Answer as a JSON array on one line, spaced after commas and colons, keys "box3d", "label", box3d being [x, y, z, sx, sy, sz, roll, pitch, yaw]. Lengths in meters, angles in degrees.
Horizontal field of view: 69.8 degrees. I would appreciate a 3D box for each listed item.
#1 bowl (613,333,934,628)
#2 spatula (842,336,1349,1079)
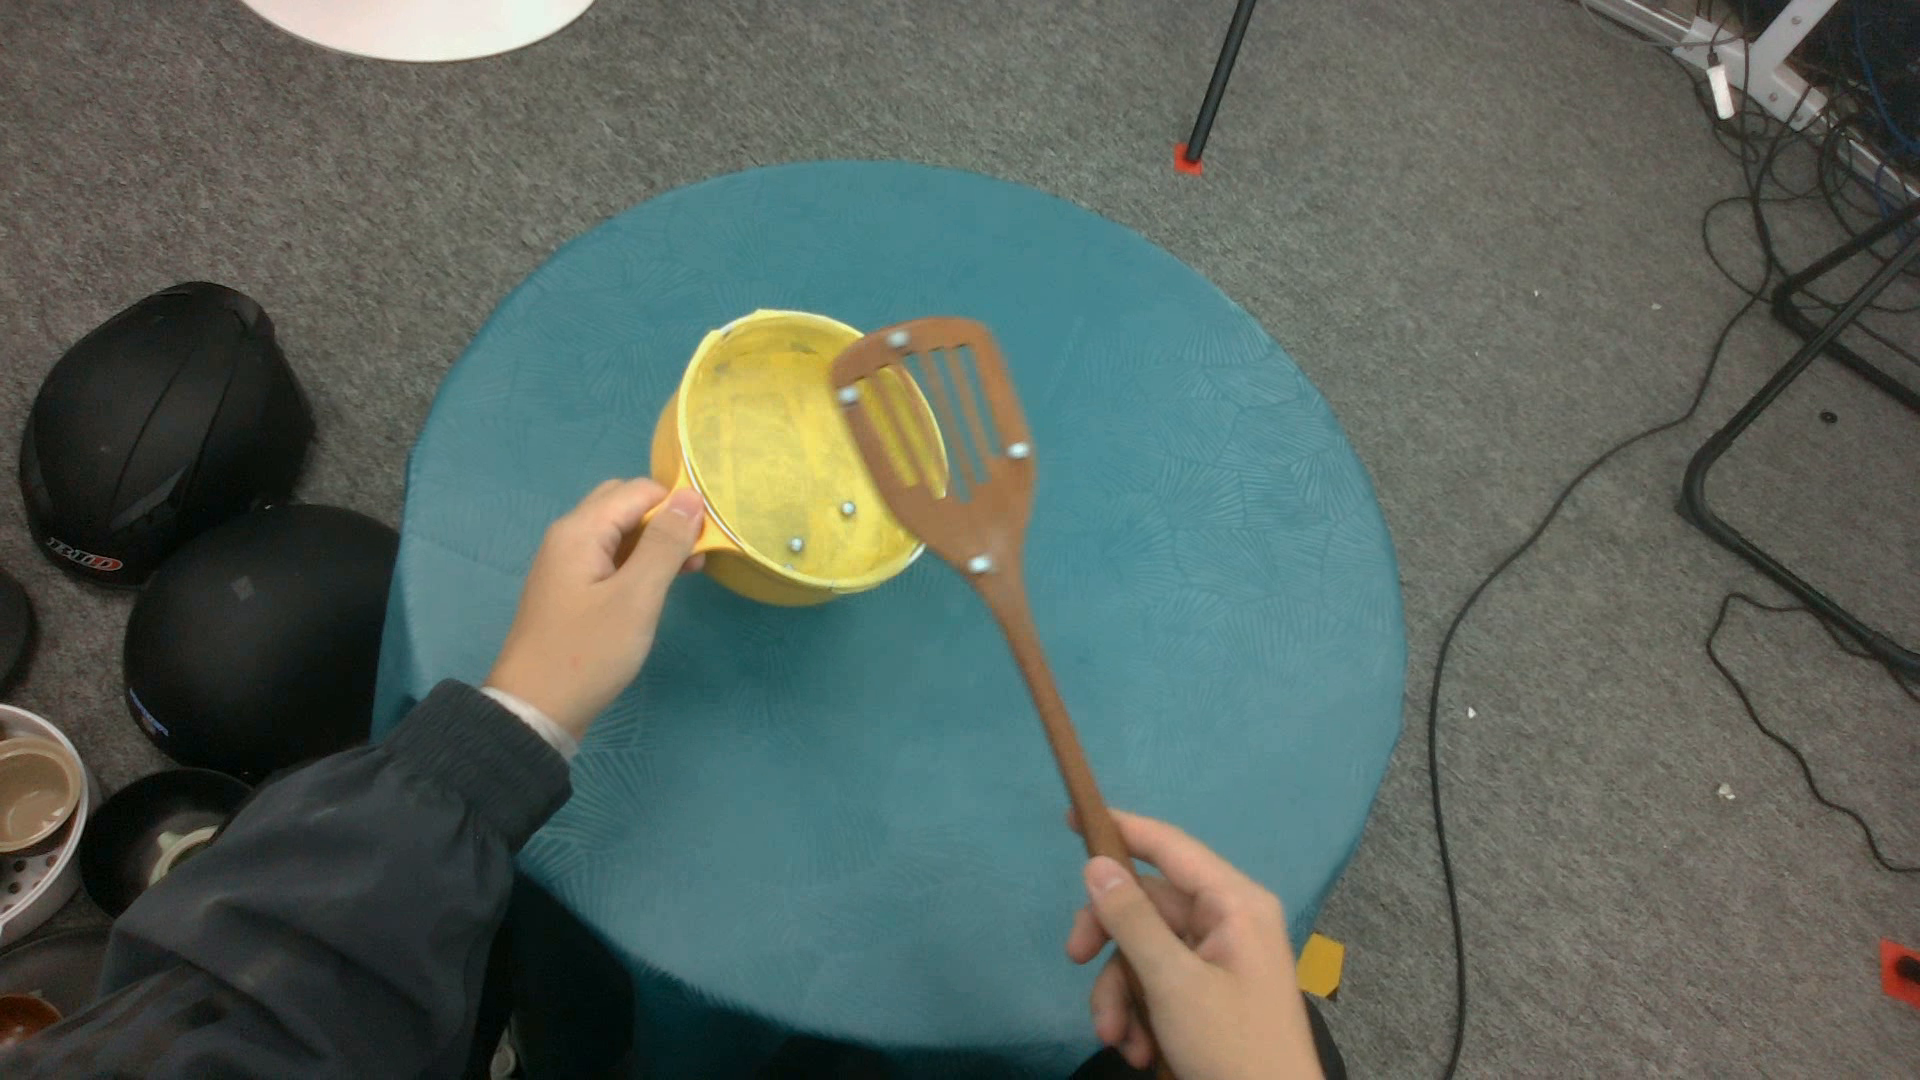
[{"box3d": [-0.102, -0.023, 0.727, 0.153, 0.074, 0.180, 49, 51, -4], "label": "bowl"}, {"box3d": [0.066, 0.073, 0.635, 0.085, 0.024, 0.387, -31, 74, 2], "label": "spatula"}]
